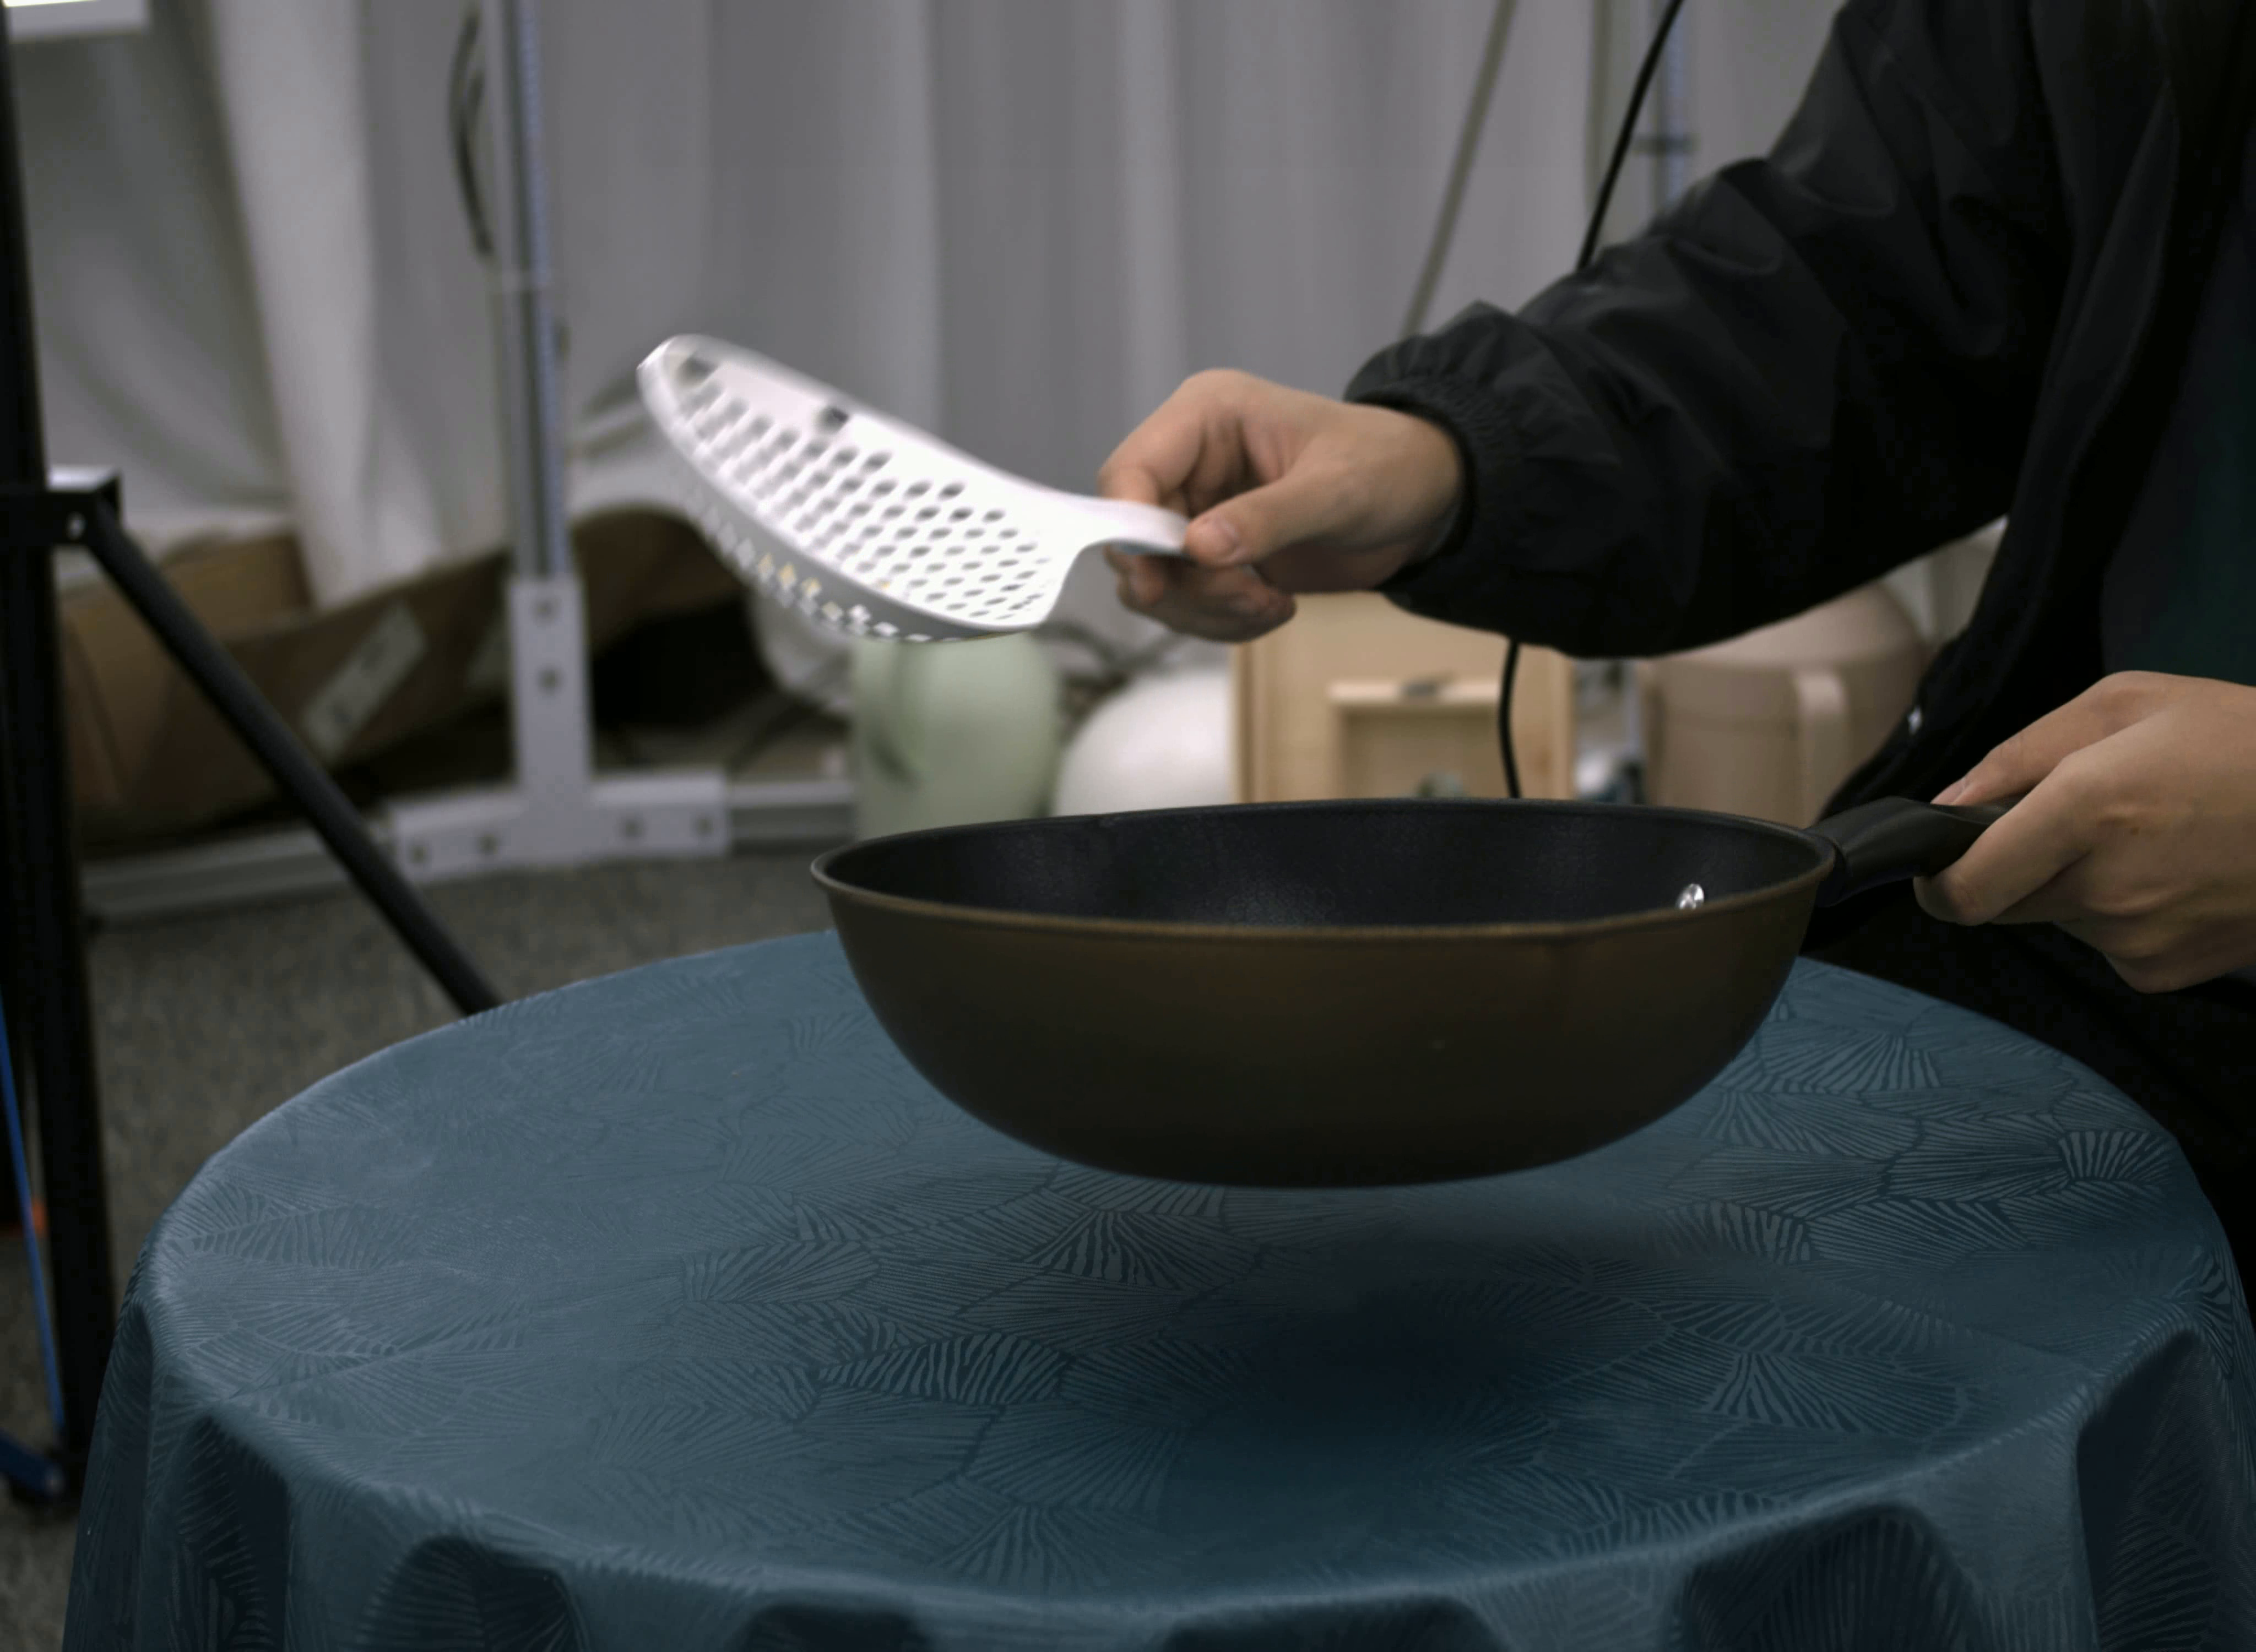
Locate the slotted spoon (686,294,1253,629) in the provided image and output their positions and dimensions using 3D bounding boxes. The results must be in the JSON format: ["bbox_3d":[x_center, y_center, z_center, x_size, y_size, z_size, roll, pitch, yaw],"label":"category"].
[{"bbox_3d":[-0.029,-0.093,1.658,0.139,0.050,0.340,47,22,23],"label":"slotted spoon"}]

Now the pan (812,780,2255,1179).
[{"bbox_3d":[0.136,0.039,1.482,0.454,0.087,0.293,-3,6,-22],"label":"pan"}]
